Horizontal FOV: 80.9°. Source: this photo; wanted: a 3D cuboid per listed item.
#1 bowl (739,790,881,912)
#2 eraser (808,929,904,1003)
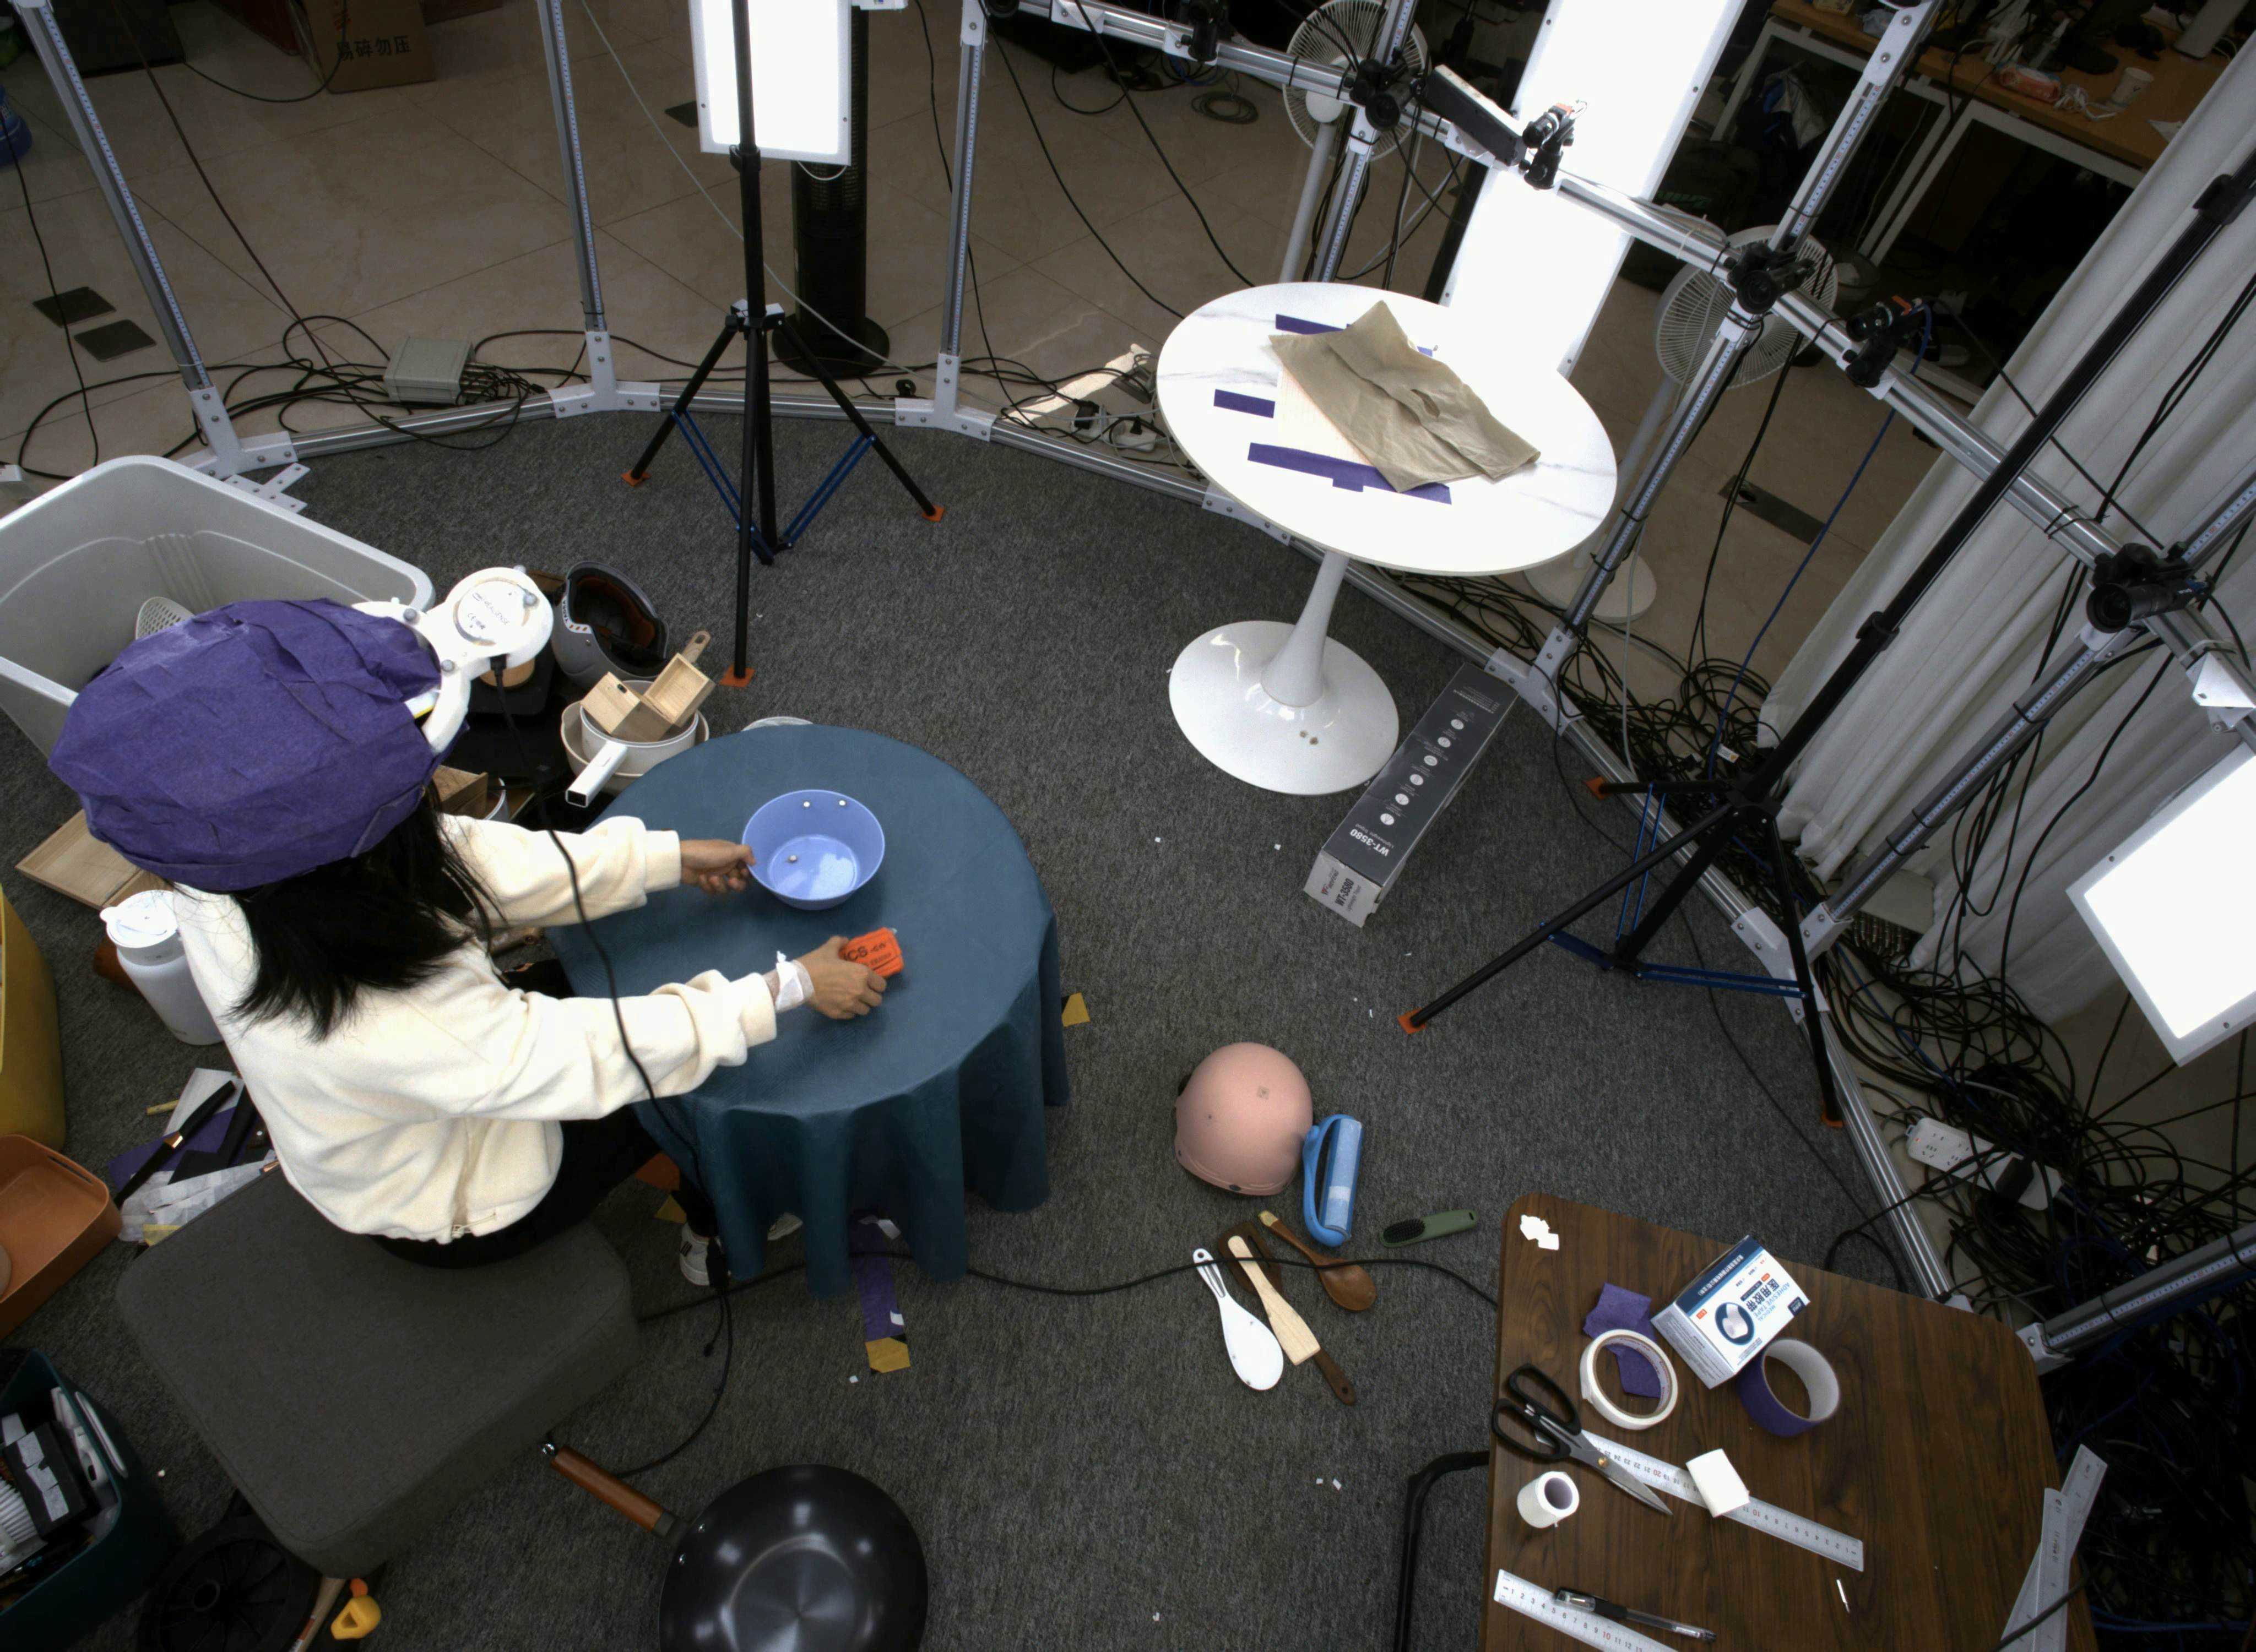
[{"bbox_3d":[-0.402,0.040,1.647,0.176,0.072,0.173,8,51,-9],"label":"bowl"},{"bbox_3d":[-0.332,0.169,1.587,0.108,0.023,0.059,-21,80,-26],"label":"eraser"}]
